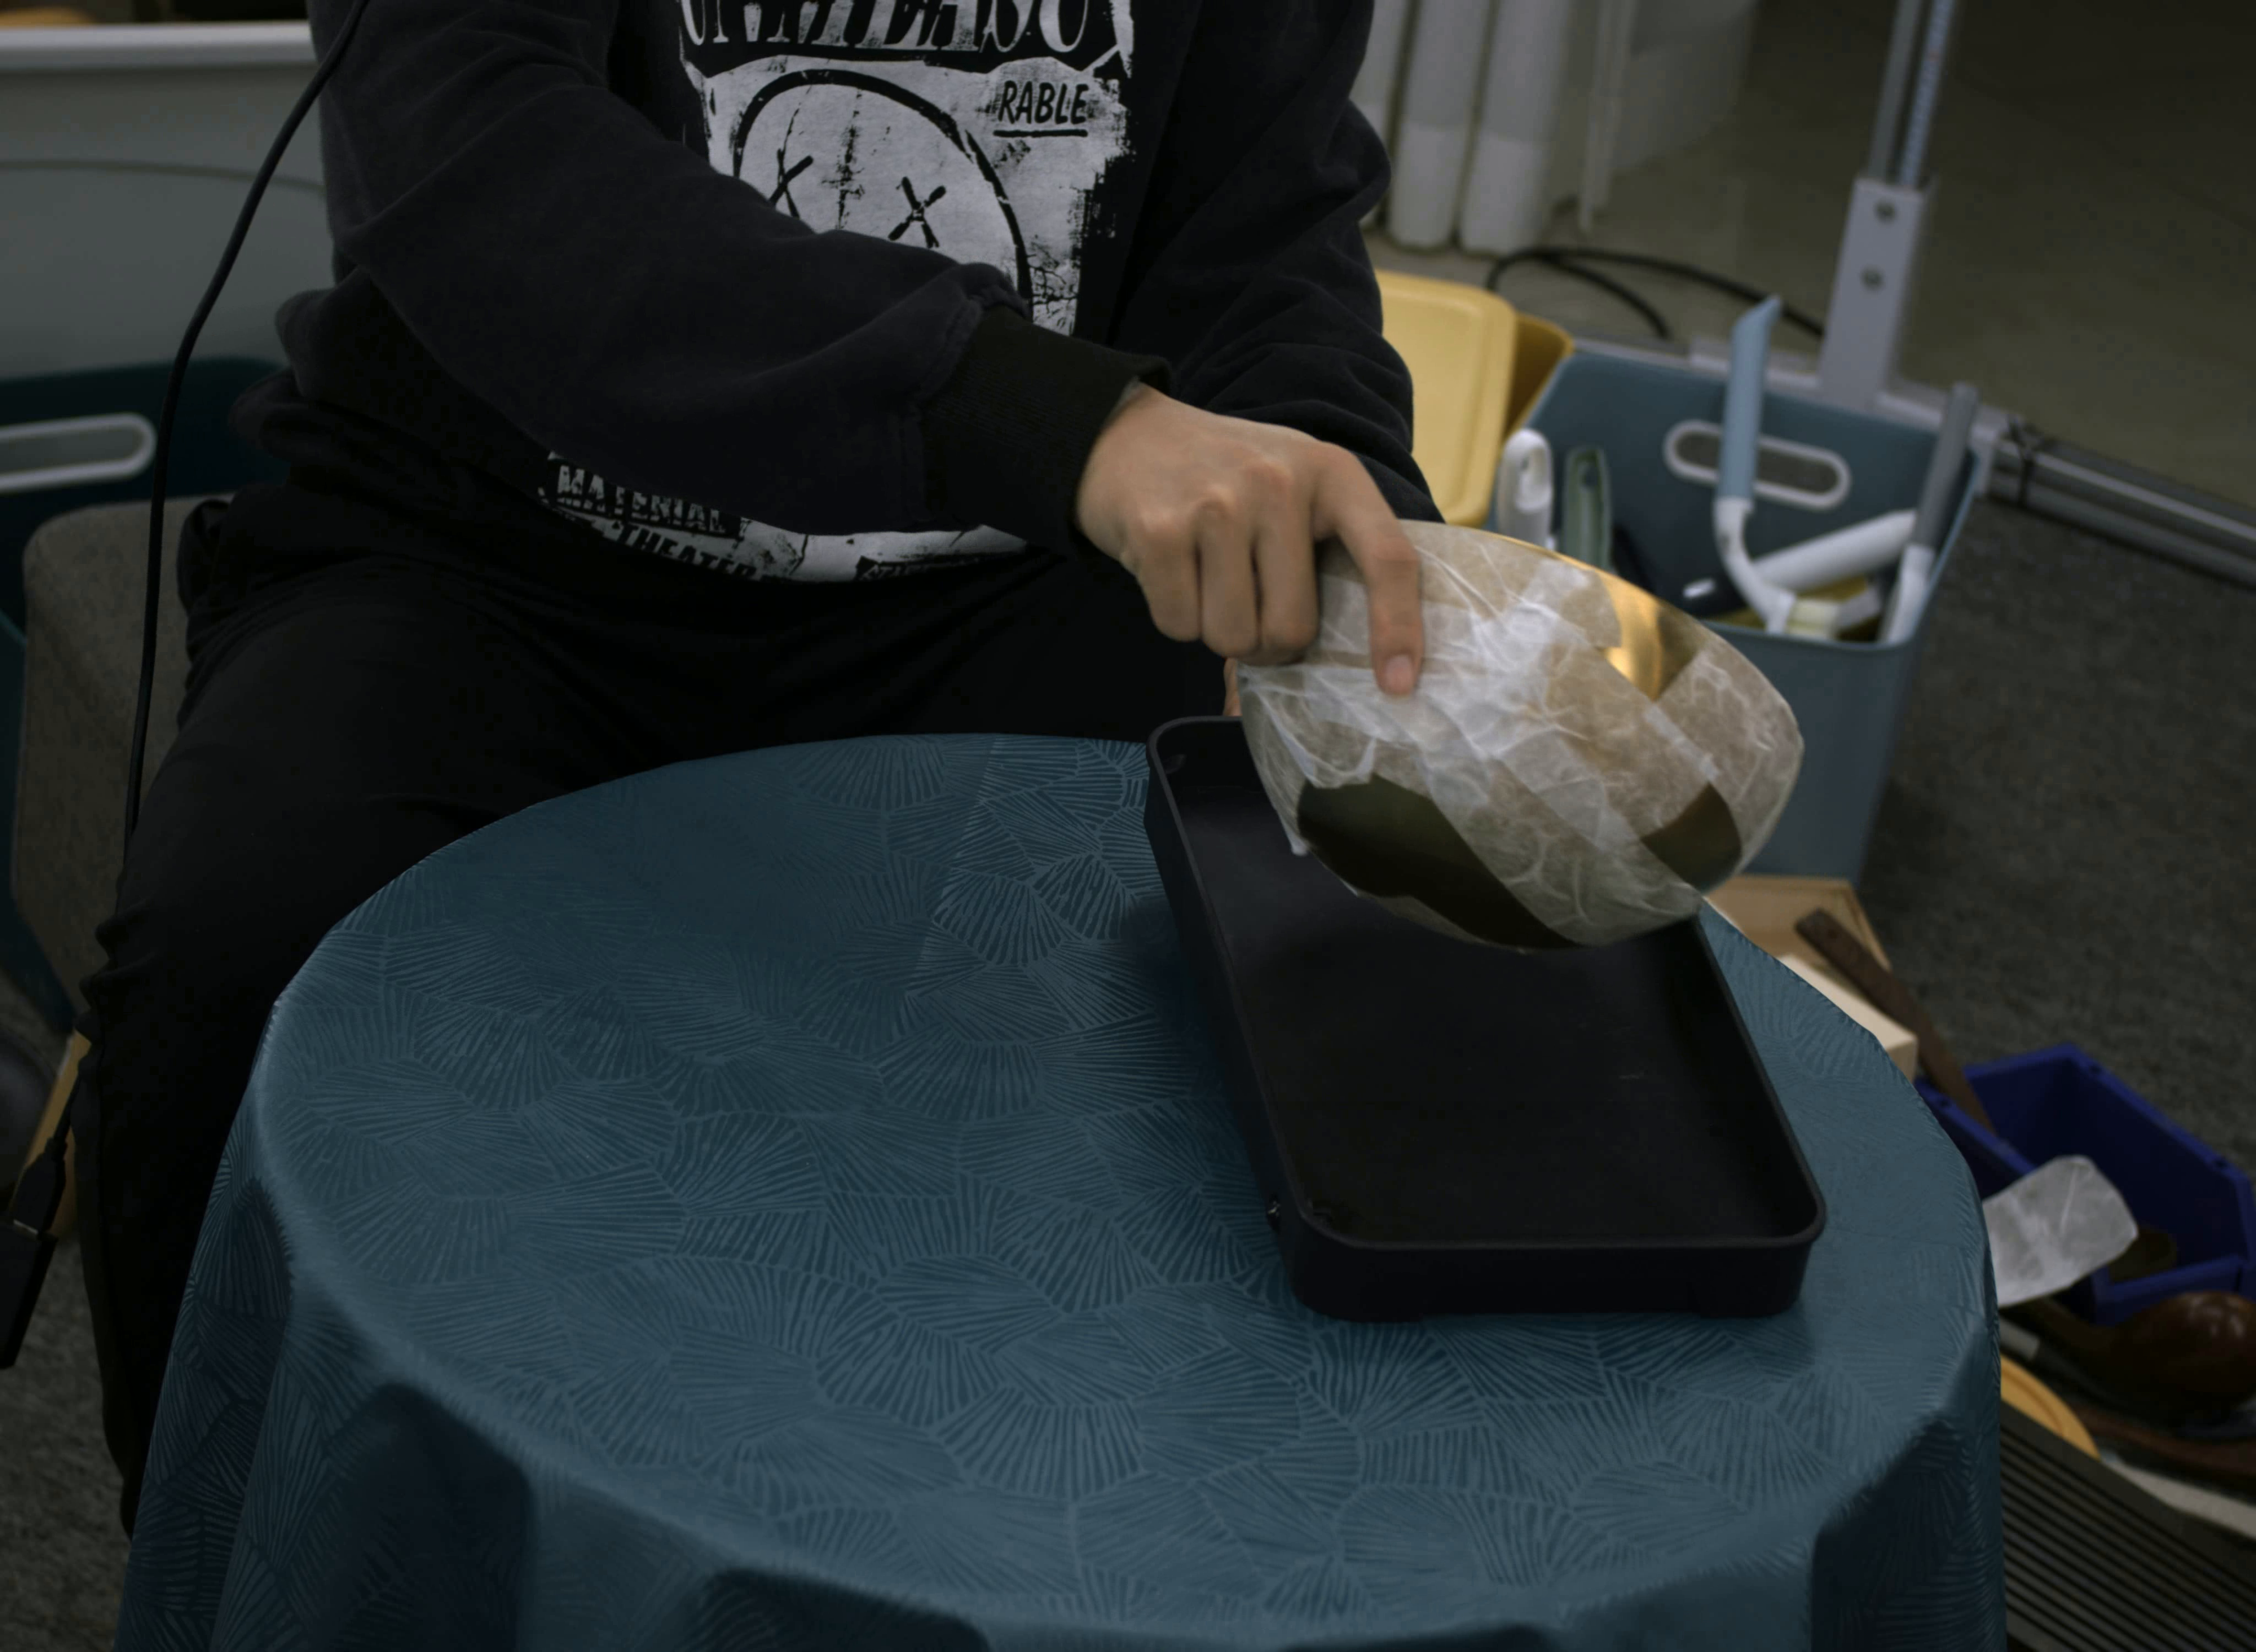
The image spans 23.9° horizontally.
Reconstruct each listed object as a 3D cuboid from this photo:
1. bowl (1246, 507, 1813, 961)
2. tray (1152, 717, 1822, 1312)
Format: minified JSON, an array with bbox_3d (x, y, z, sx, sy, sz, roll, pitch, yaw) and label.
[{"bbox_3d":[0.123,-0.014,1.839,0.215,0.213,0.095,16,66,18],"label":"bowl"},{"bbox_3d":[0.118,0.060,1.869,0.183,0.037,0.320,1,33,-10],"label":"tray"}]
